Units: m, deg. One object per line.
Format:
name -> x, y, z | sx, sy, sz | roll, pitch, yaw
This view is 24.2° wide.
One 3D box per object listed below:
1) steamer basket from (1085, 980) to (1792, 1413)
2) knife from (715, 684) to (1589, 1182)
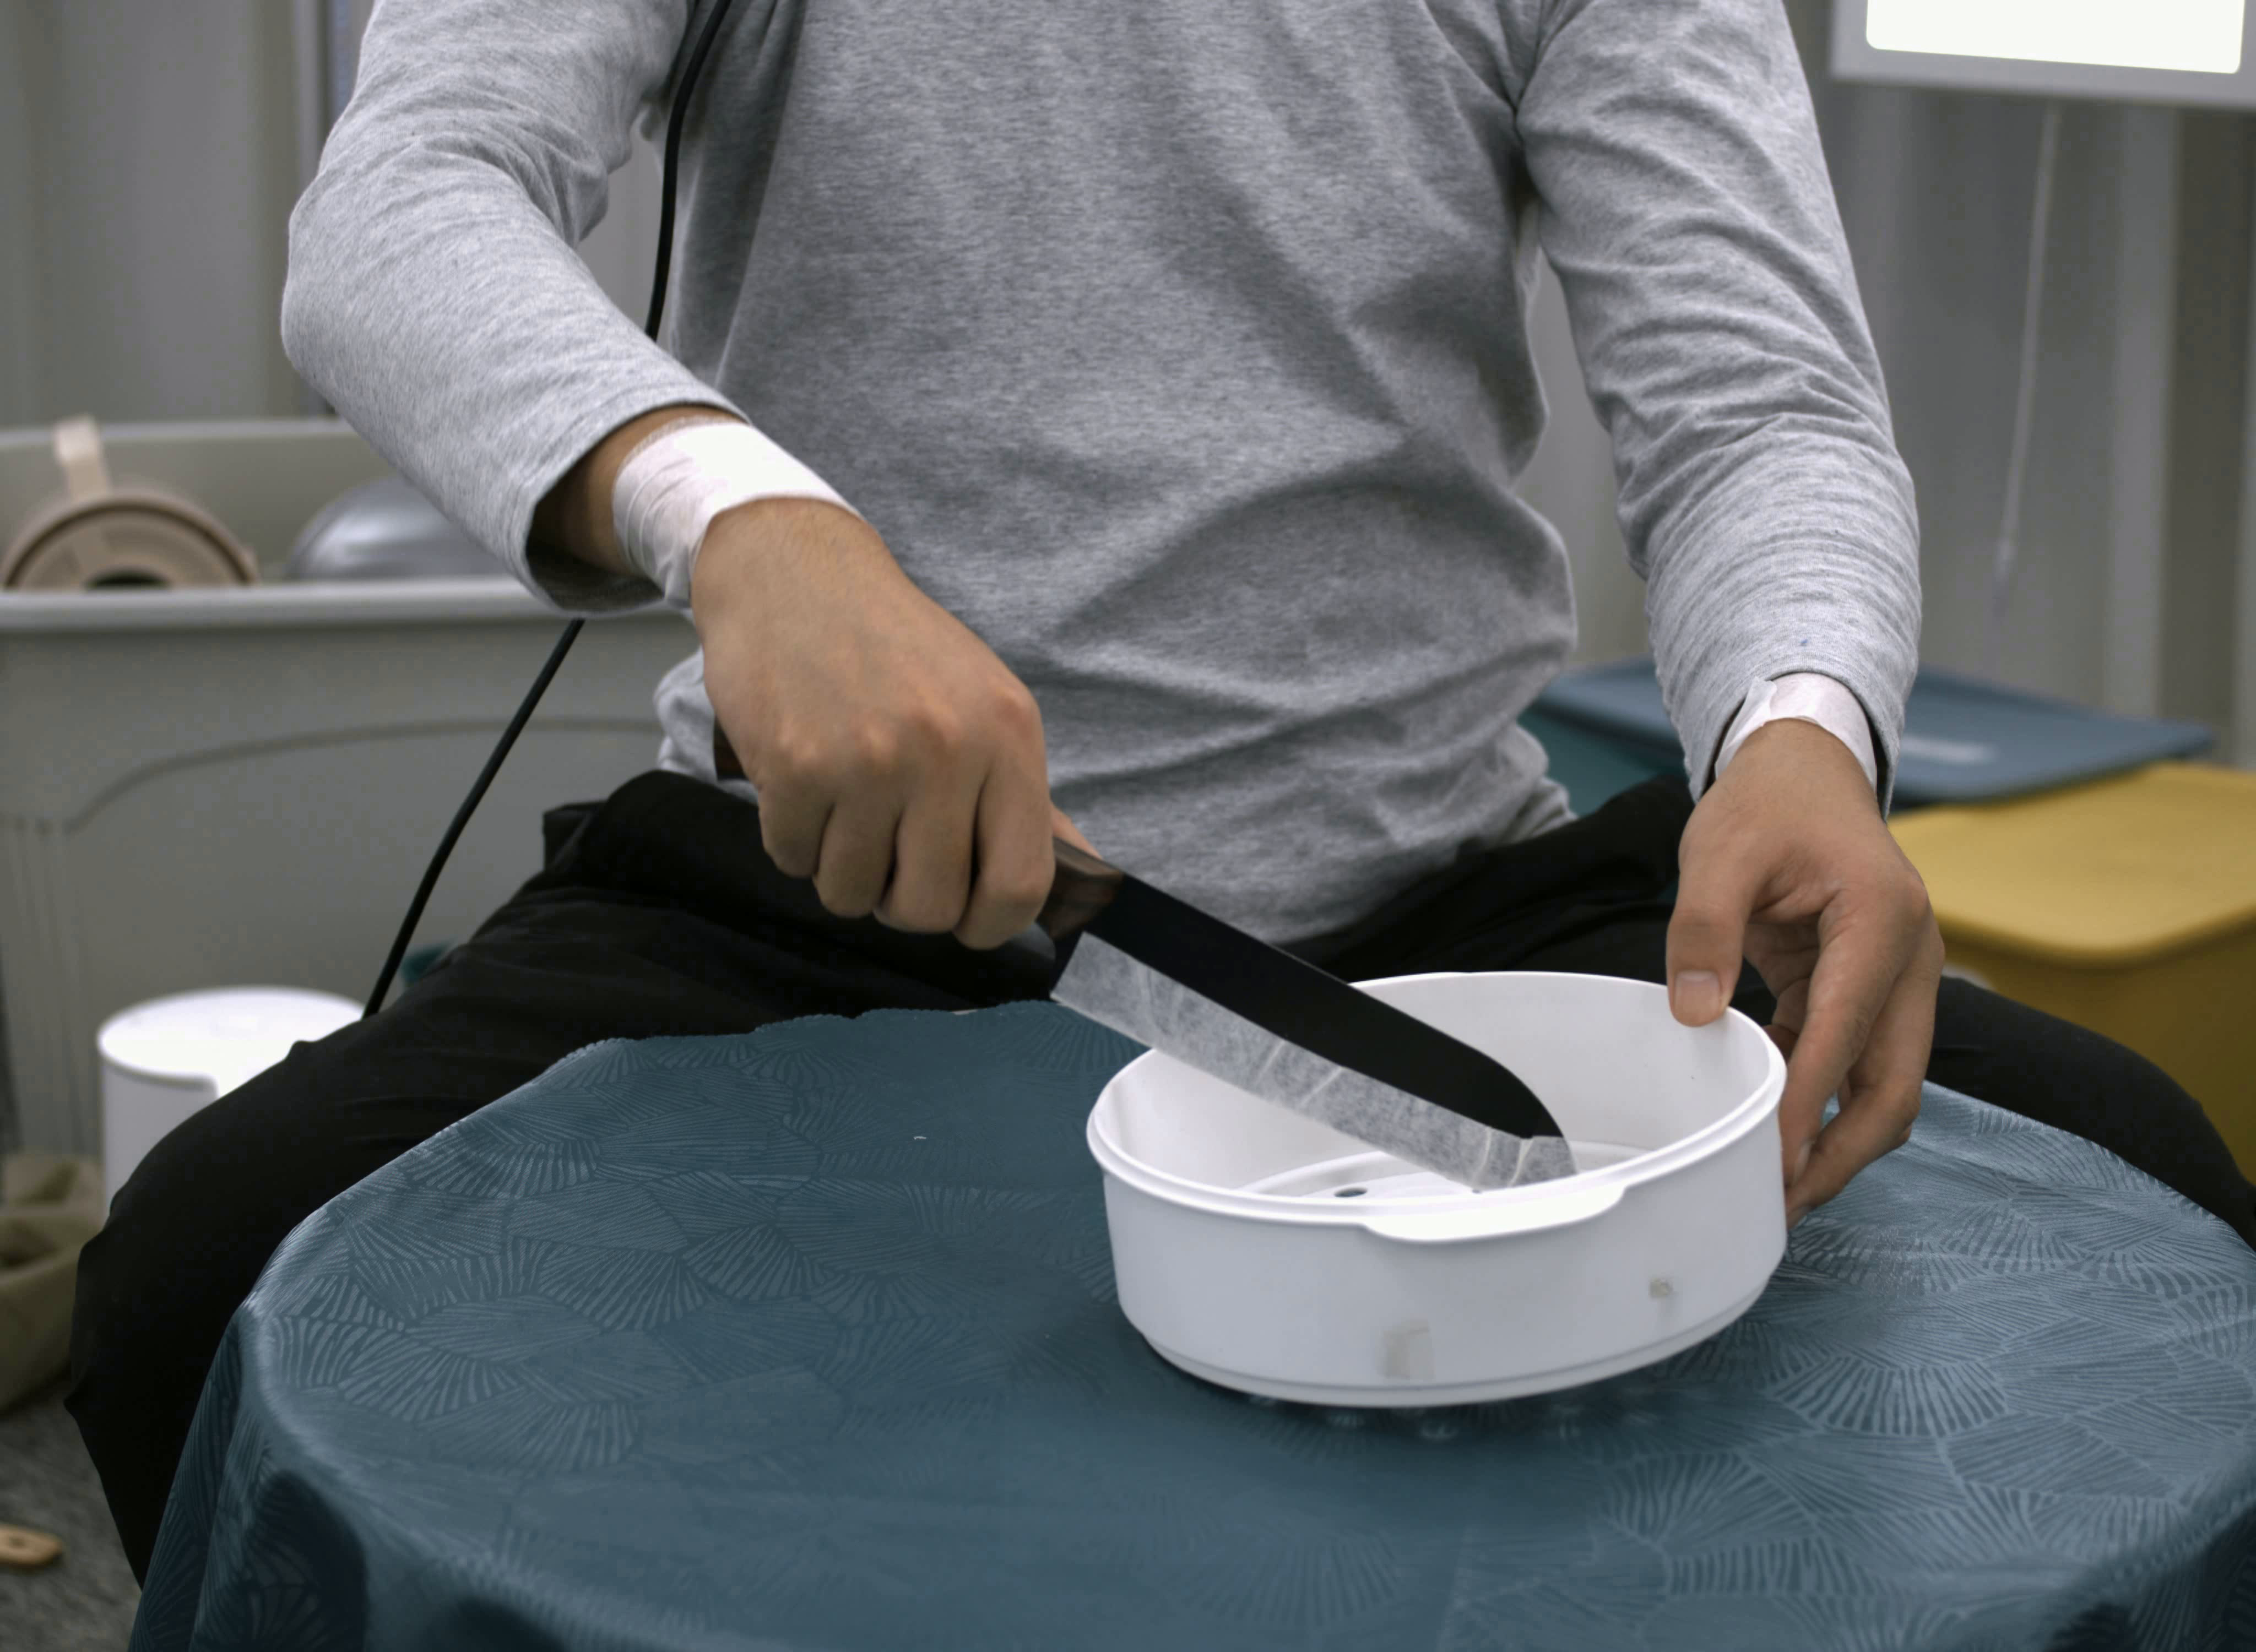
steamer basket -> 0.090, 0.105, 1.504 | 0.201, 0.070, 0.229 | -7, 16, -5
knife -> 0.007, 0.036, 1.507 | 0.288, 0.050, 0.020 | 29, 19, 0
